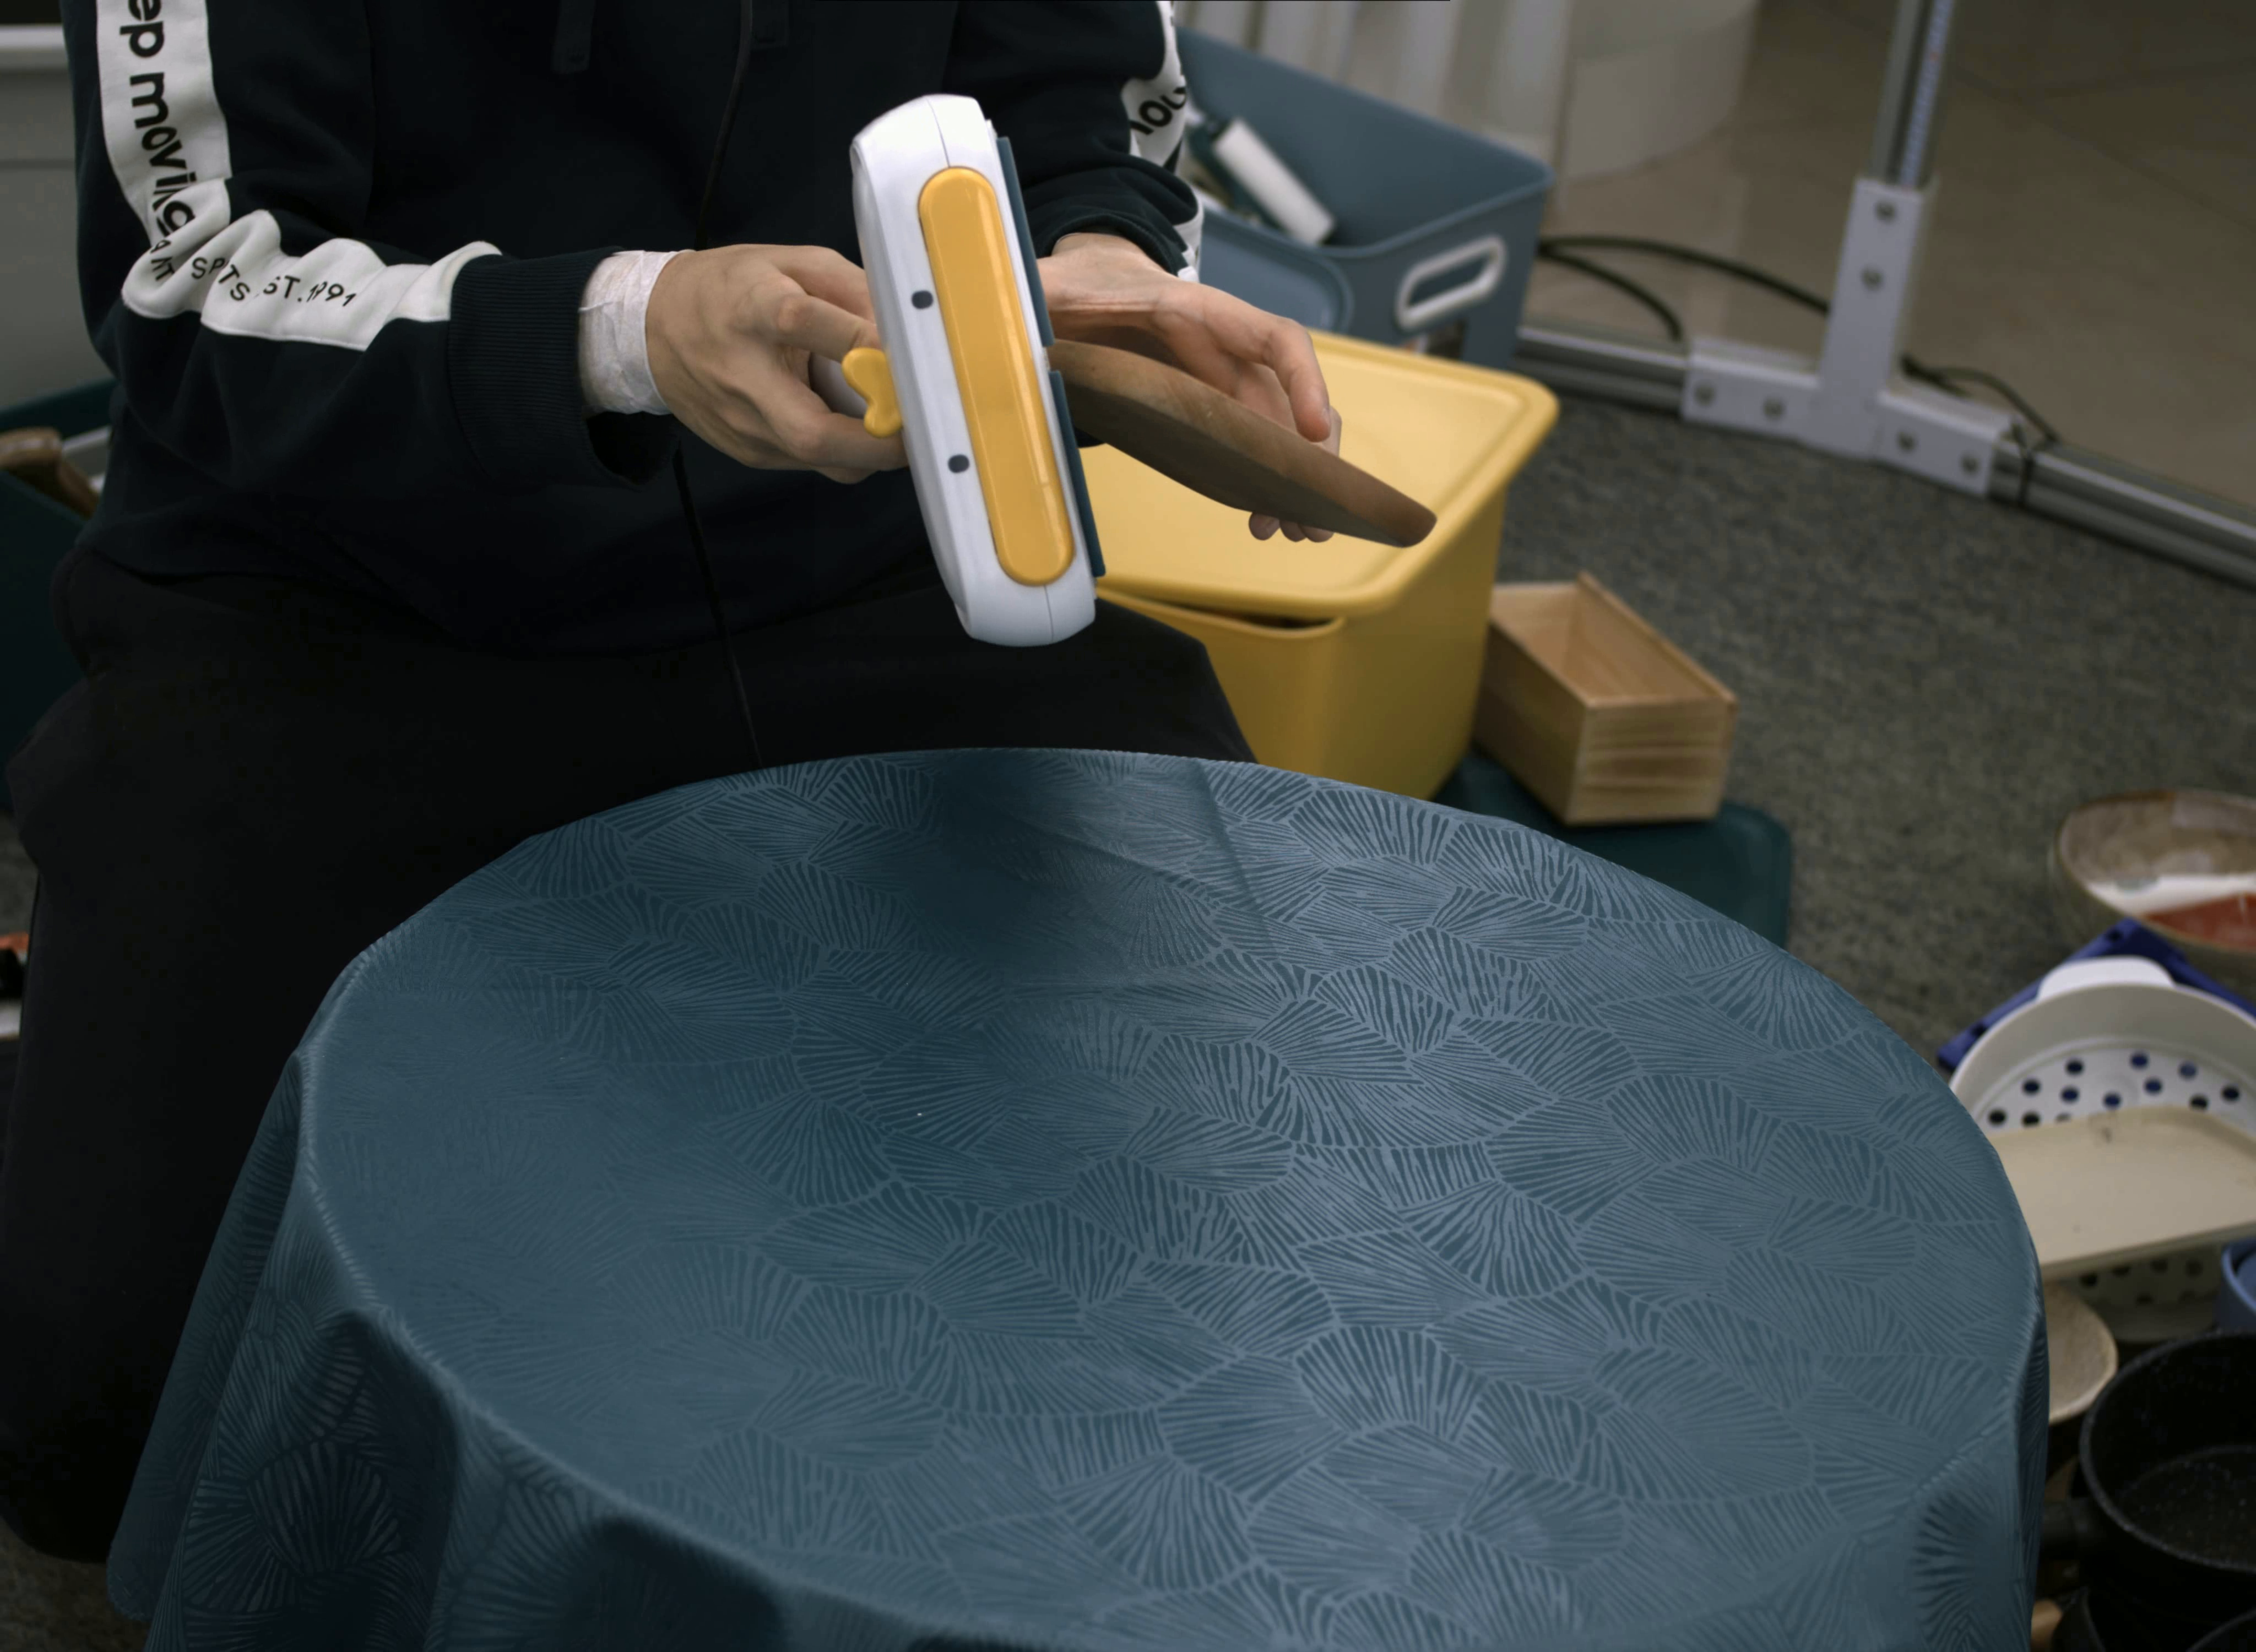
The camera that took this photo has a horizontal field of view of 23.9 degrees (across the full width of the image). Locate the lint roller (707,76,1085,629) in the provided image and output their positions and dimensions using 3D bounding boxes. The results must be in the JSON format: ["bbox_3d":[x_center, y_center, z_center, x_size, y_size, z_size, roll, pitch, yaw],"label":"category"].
[{"bbox_3d":[-0.091,-0.157,1.886,0.074,0.193,0.193,-19,4,-24],"label":"lint roller"}]

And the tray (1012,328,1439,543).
[{"bbox_3d":[0.023,-0.140,1.903,0.130,0.023,0.252,30,-3,-16],"label":"tray"}]
